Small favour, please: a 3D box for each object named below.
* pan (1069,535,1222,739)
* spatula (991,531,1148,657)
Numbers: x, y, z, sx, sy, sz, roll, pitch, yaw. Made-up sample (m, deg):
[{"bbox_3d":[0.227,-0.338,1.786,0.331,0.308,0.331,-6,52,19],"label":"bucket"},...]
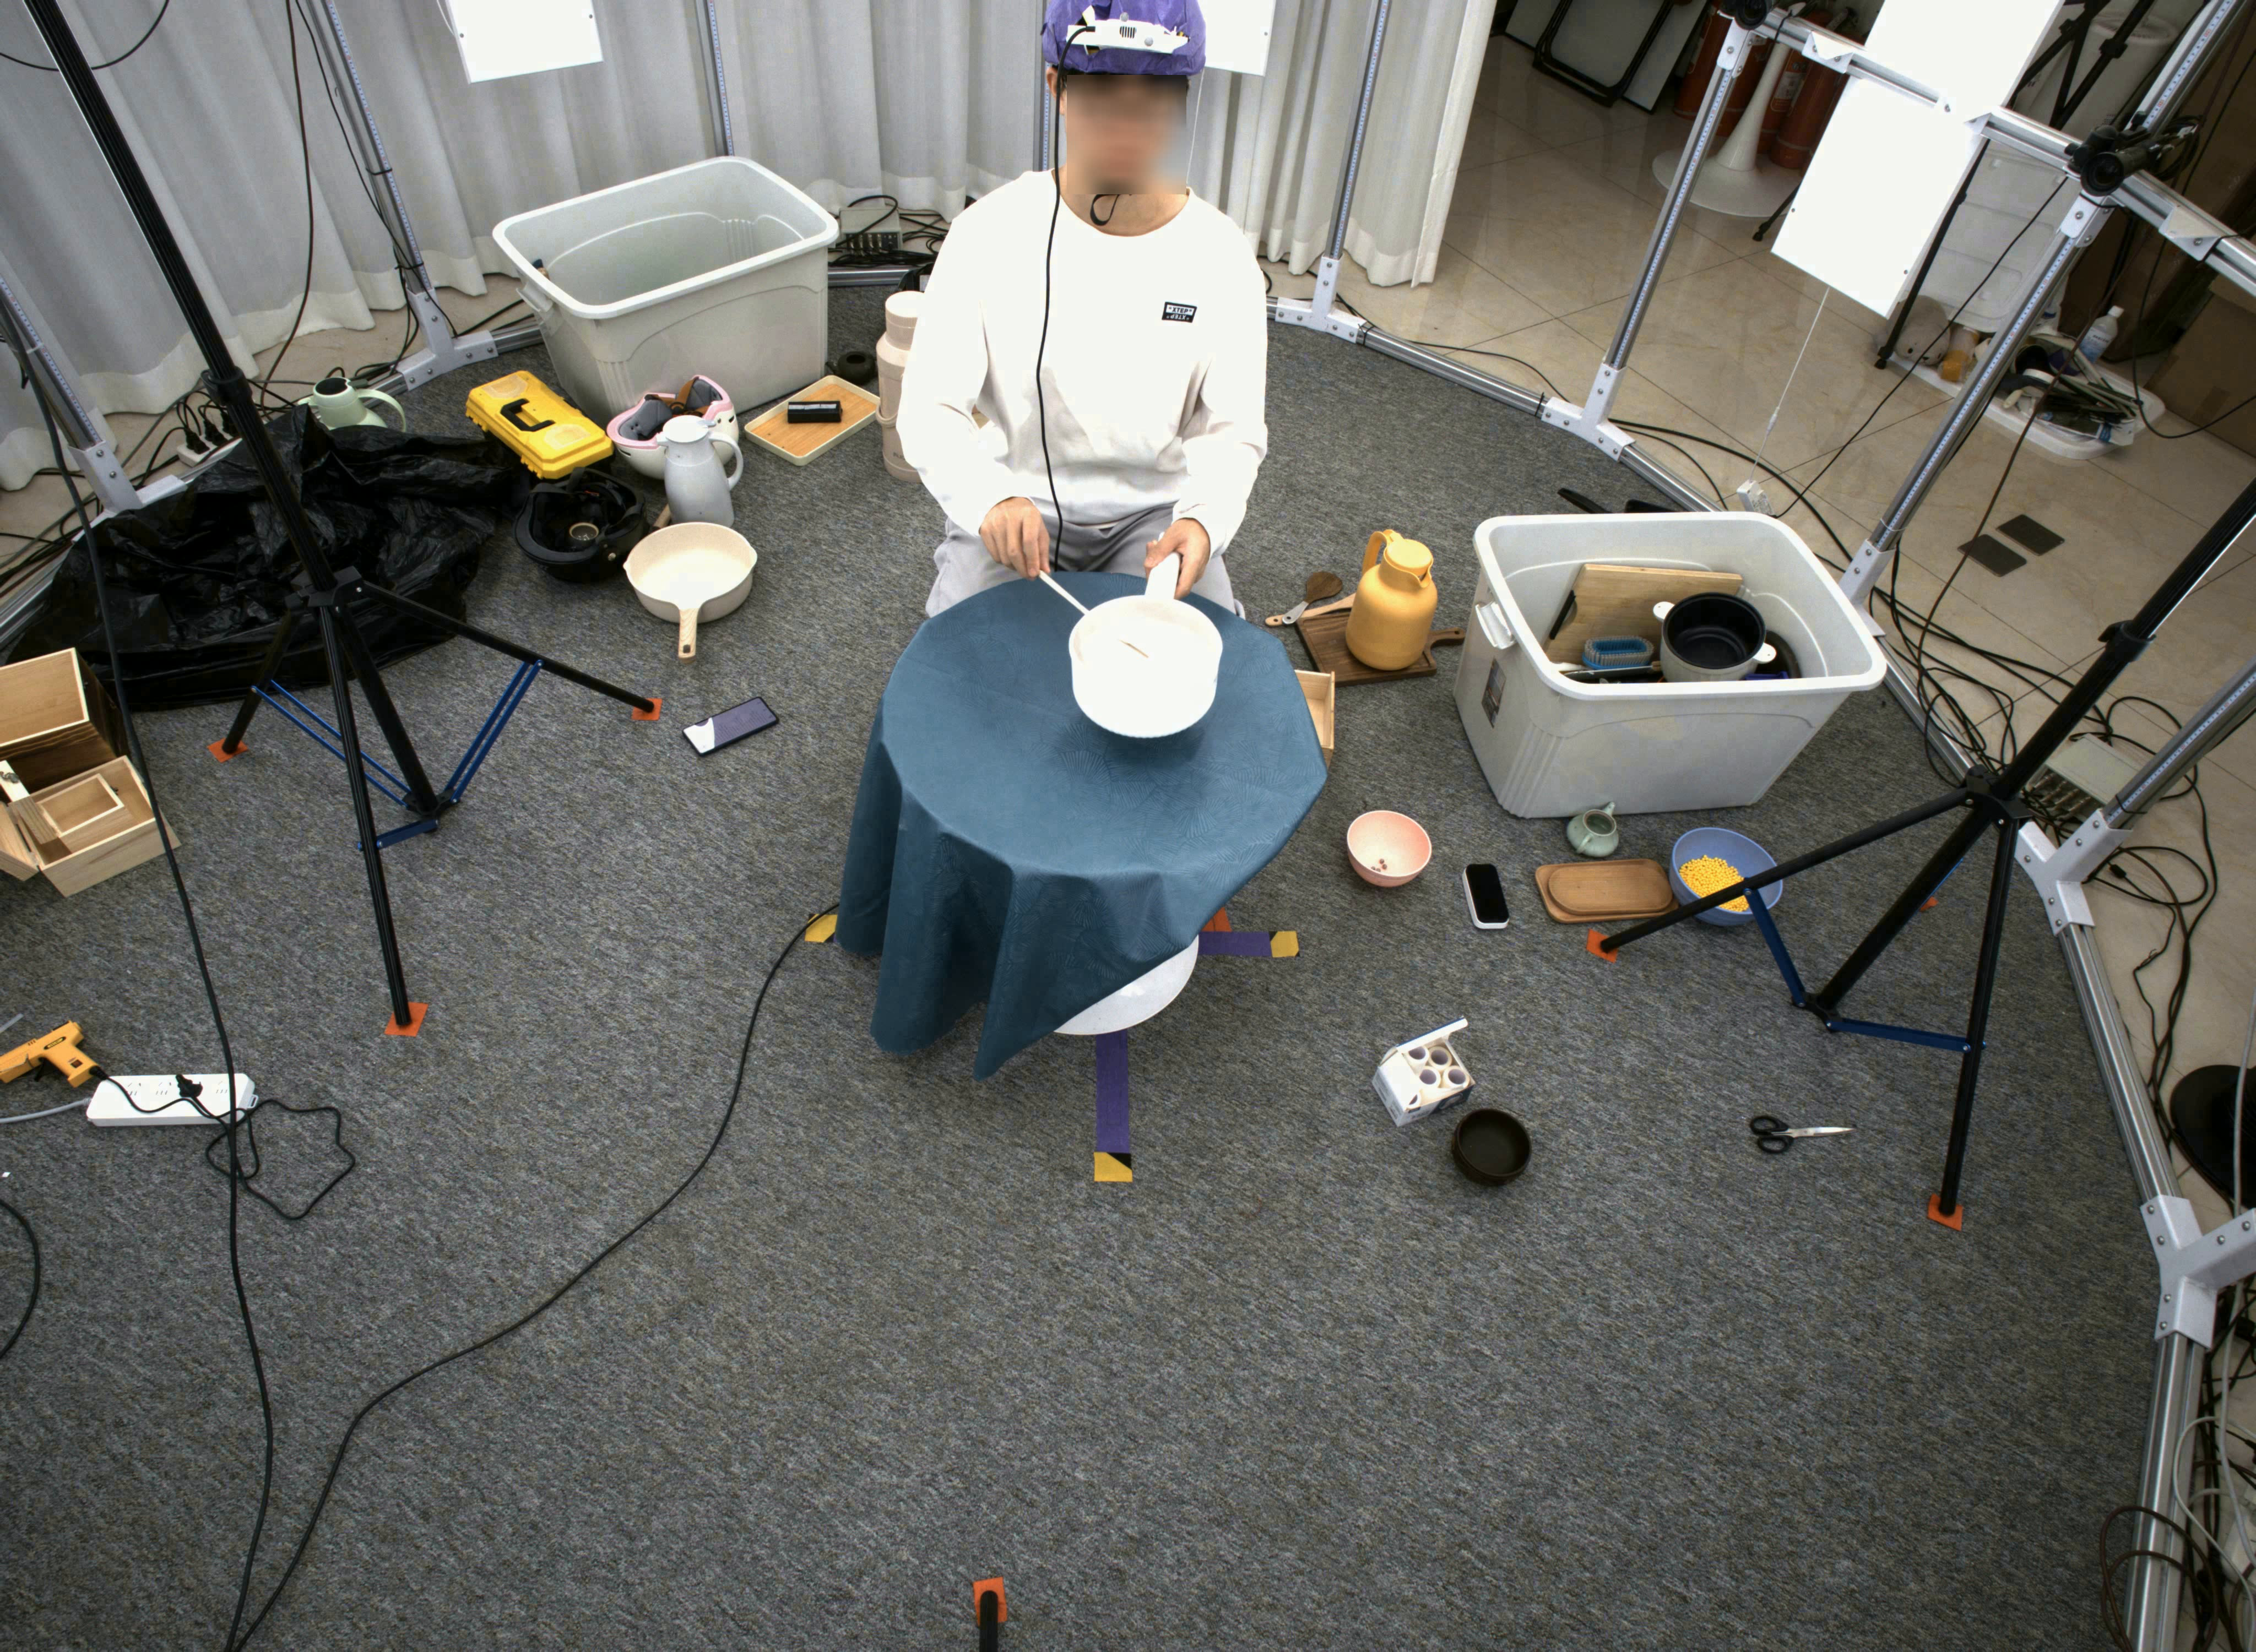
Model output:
[{"bbox_3d":[0.036,-0.262,1.772,0.201,0.099,0.363,6,46,7],"label":"pan"},{"bbox_3d":[-0.086,-0.310,1.695,0.298,0.071,0.010,42,101,27],"label":"spatula"}]
